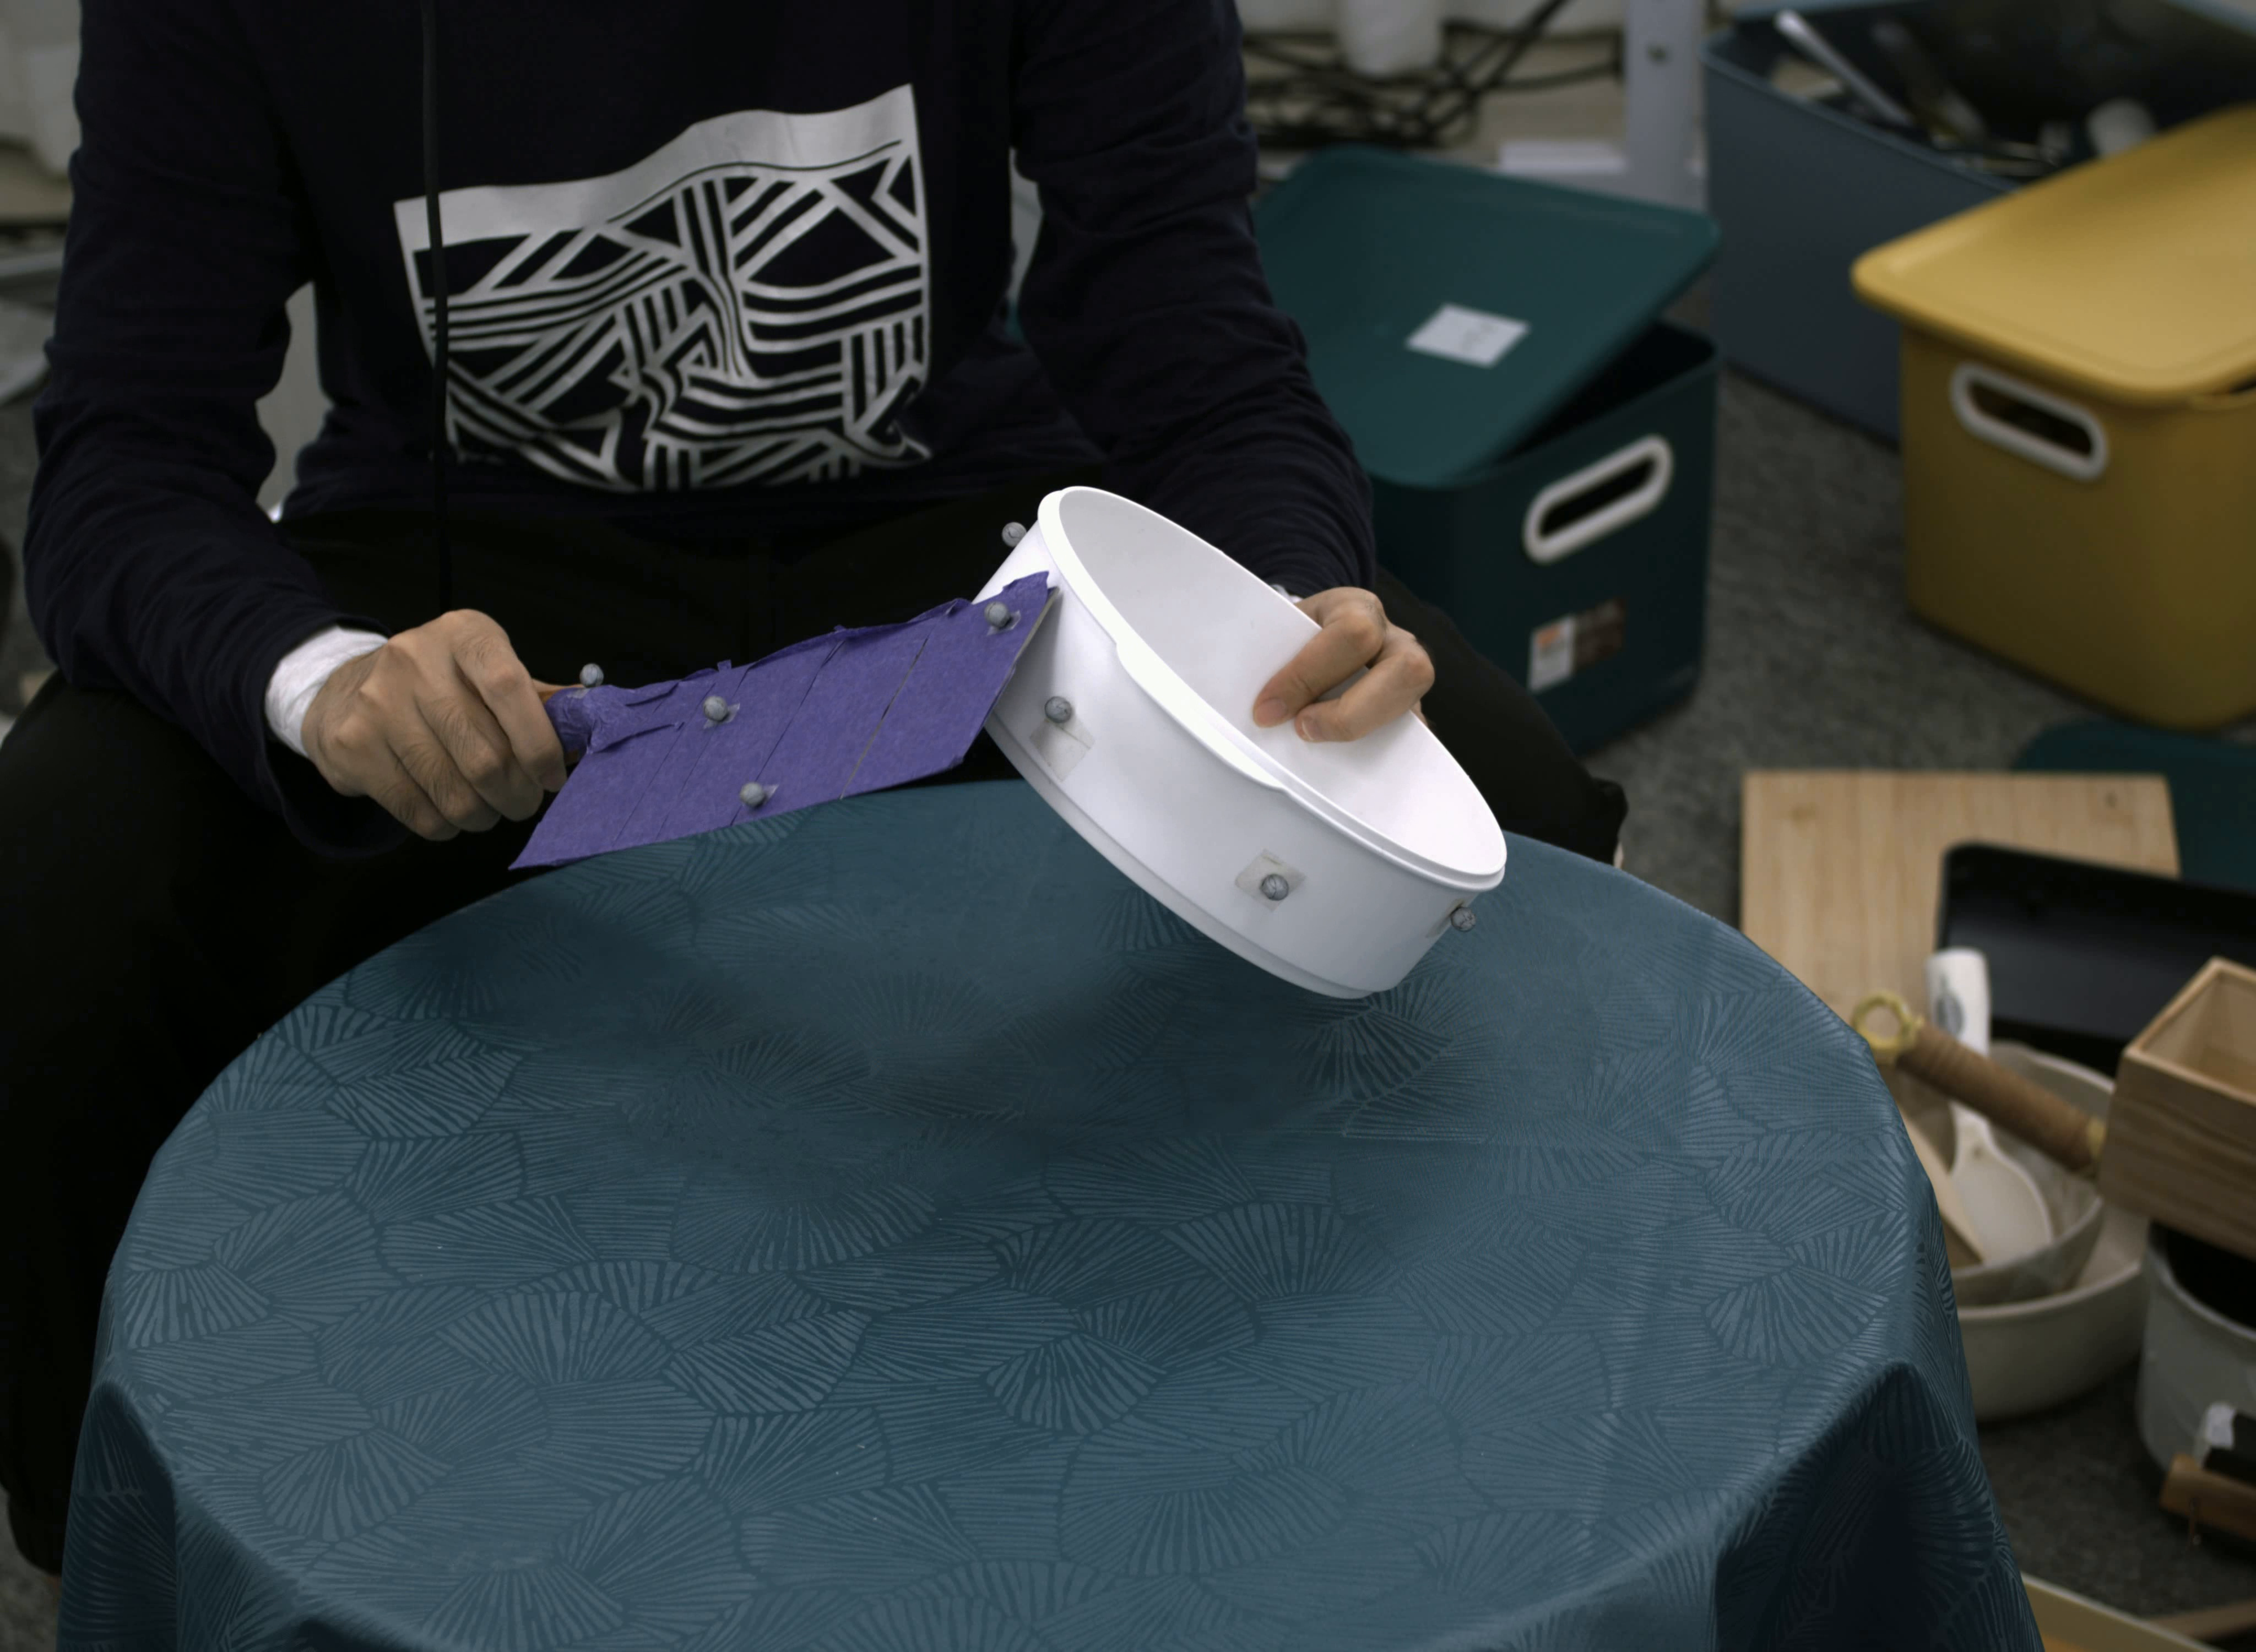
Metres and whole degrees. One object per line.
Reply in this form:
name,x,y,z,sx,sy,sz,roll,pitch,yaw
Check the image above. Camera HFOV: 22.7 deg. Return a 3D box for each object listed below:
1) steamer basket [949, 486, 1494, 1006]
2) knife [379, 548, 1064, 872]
steamer basket,0.028,-0.024,1.892,0.202,0.069,0.232,43,13,8
knife,-0.155,-0.027,1.893,0.311,0.032,0.106,-16,32,40
